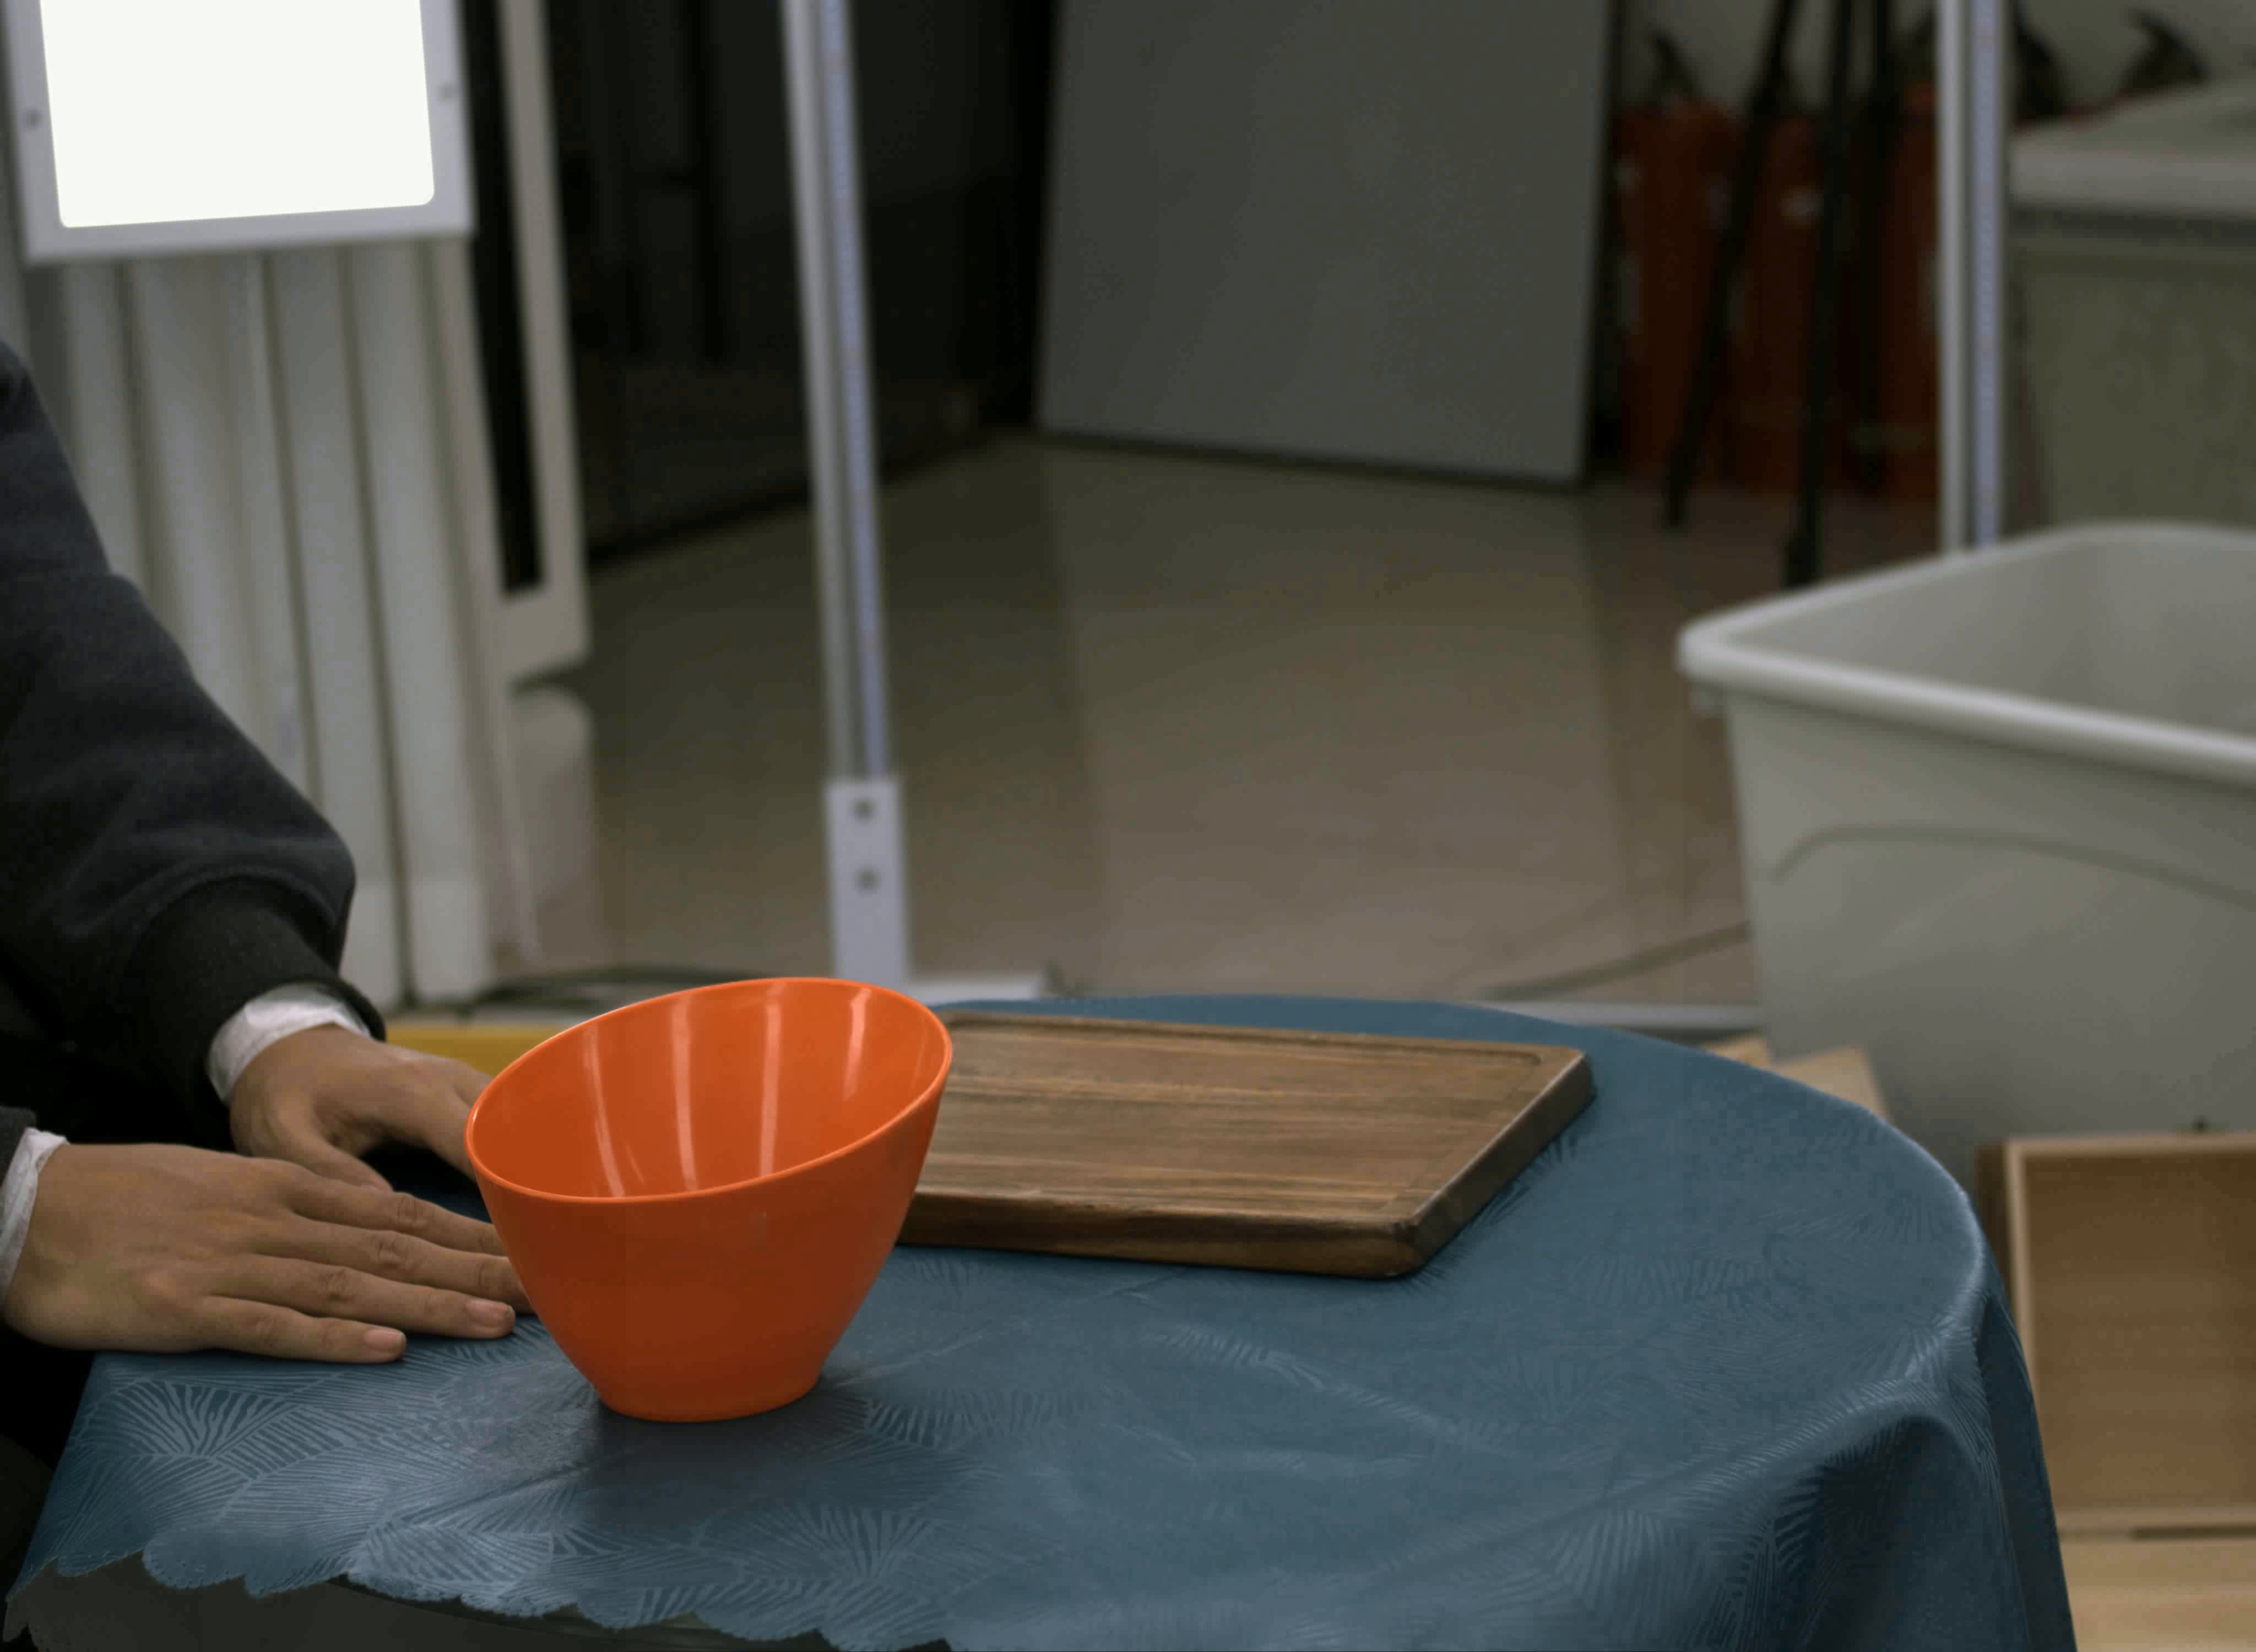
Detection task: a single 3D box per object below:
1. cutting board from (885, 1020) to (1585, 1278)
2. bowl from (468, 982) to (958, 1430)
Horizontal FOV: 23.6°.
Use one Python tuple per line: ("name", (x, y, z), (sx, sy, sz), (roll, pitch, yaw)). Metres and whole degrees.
("cutting board", (-0.037, 0.103, 1.814), (0.352, 0.023, 0.199), (2, 15, 24))
("bowl", (-0.120, 0.117, 1.609), (0.146, 0.106, 0.148), (-4, 13, 0))
